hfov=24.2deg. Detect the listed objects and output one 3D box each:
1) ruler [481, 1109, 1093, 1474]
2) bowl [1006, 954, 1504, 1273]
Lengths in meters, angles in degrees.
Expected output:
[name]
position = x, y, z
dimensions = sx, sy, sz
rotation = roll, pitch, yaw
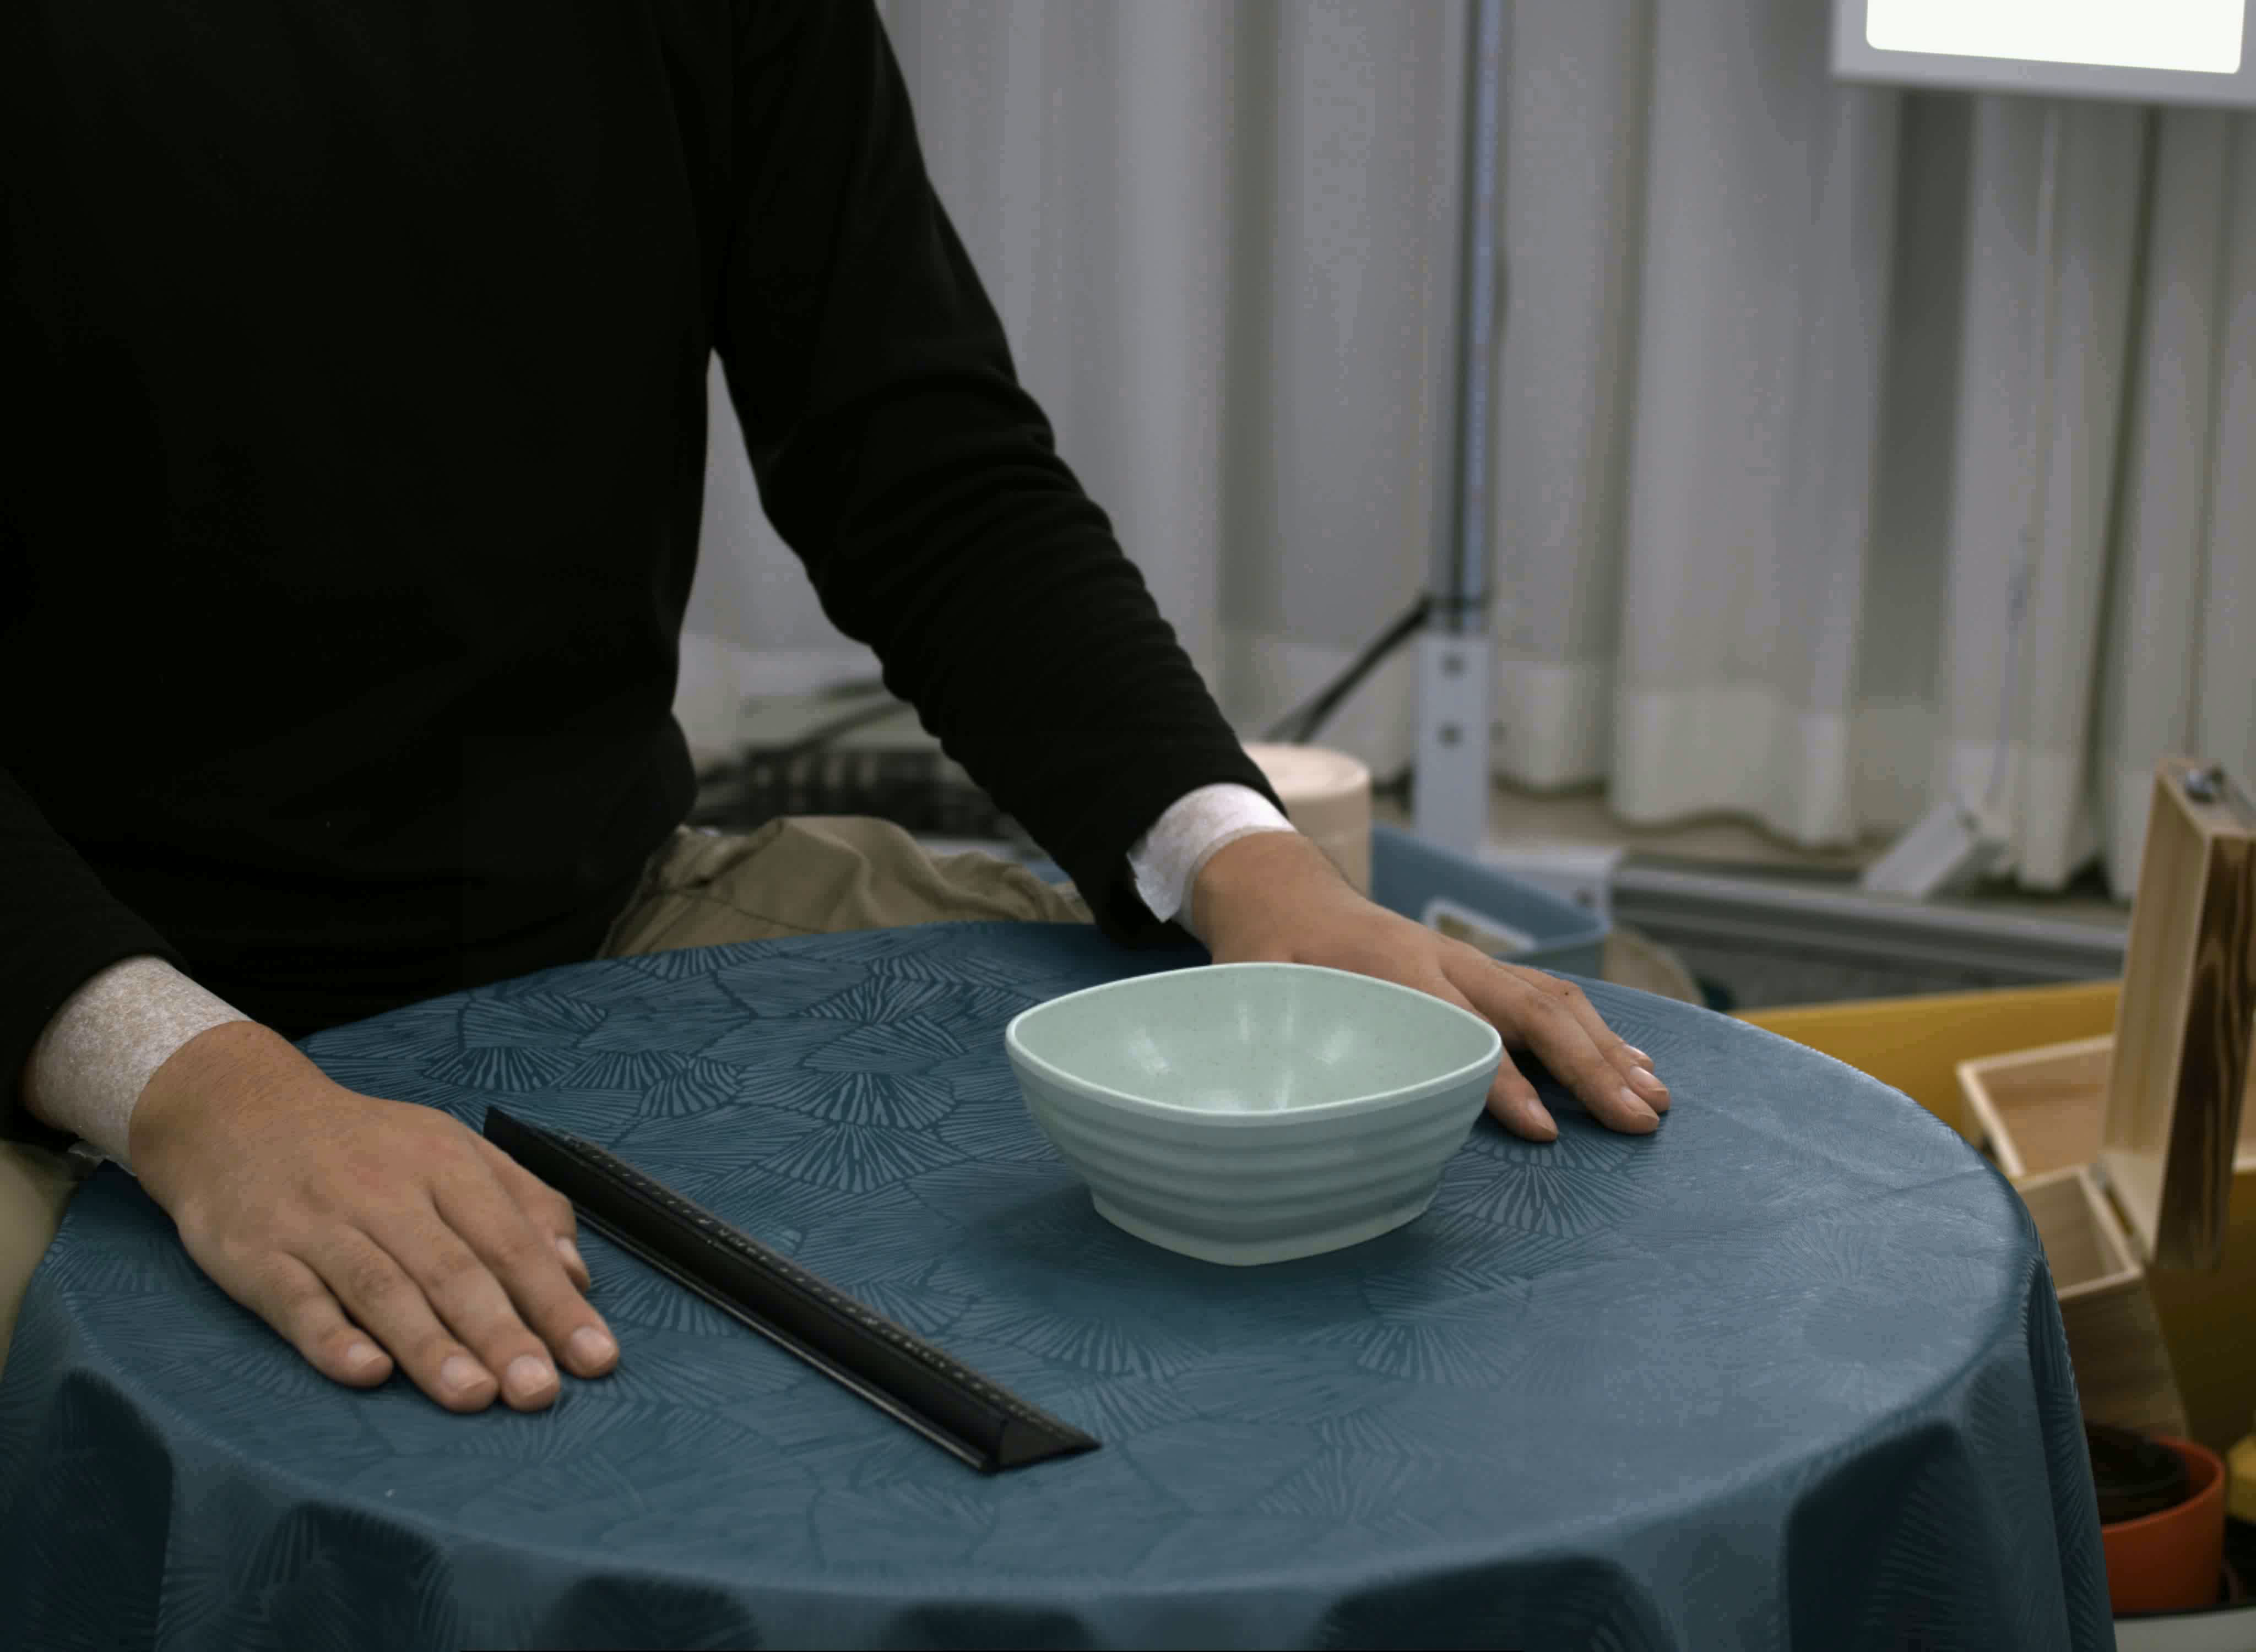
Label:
[ruler]
position = -0.105, 0.129, 1.530
dimensions = 0.039, 0.017, 0.308
rotation = -5, 16, -32
[bowl]
position = 0.038, 0.090, 1.597
dimensions = 0.151, 0.059, 0.150
rotation = 1, 18, 0
